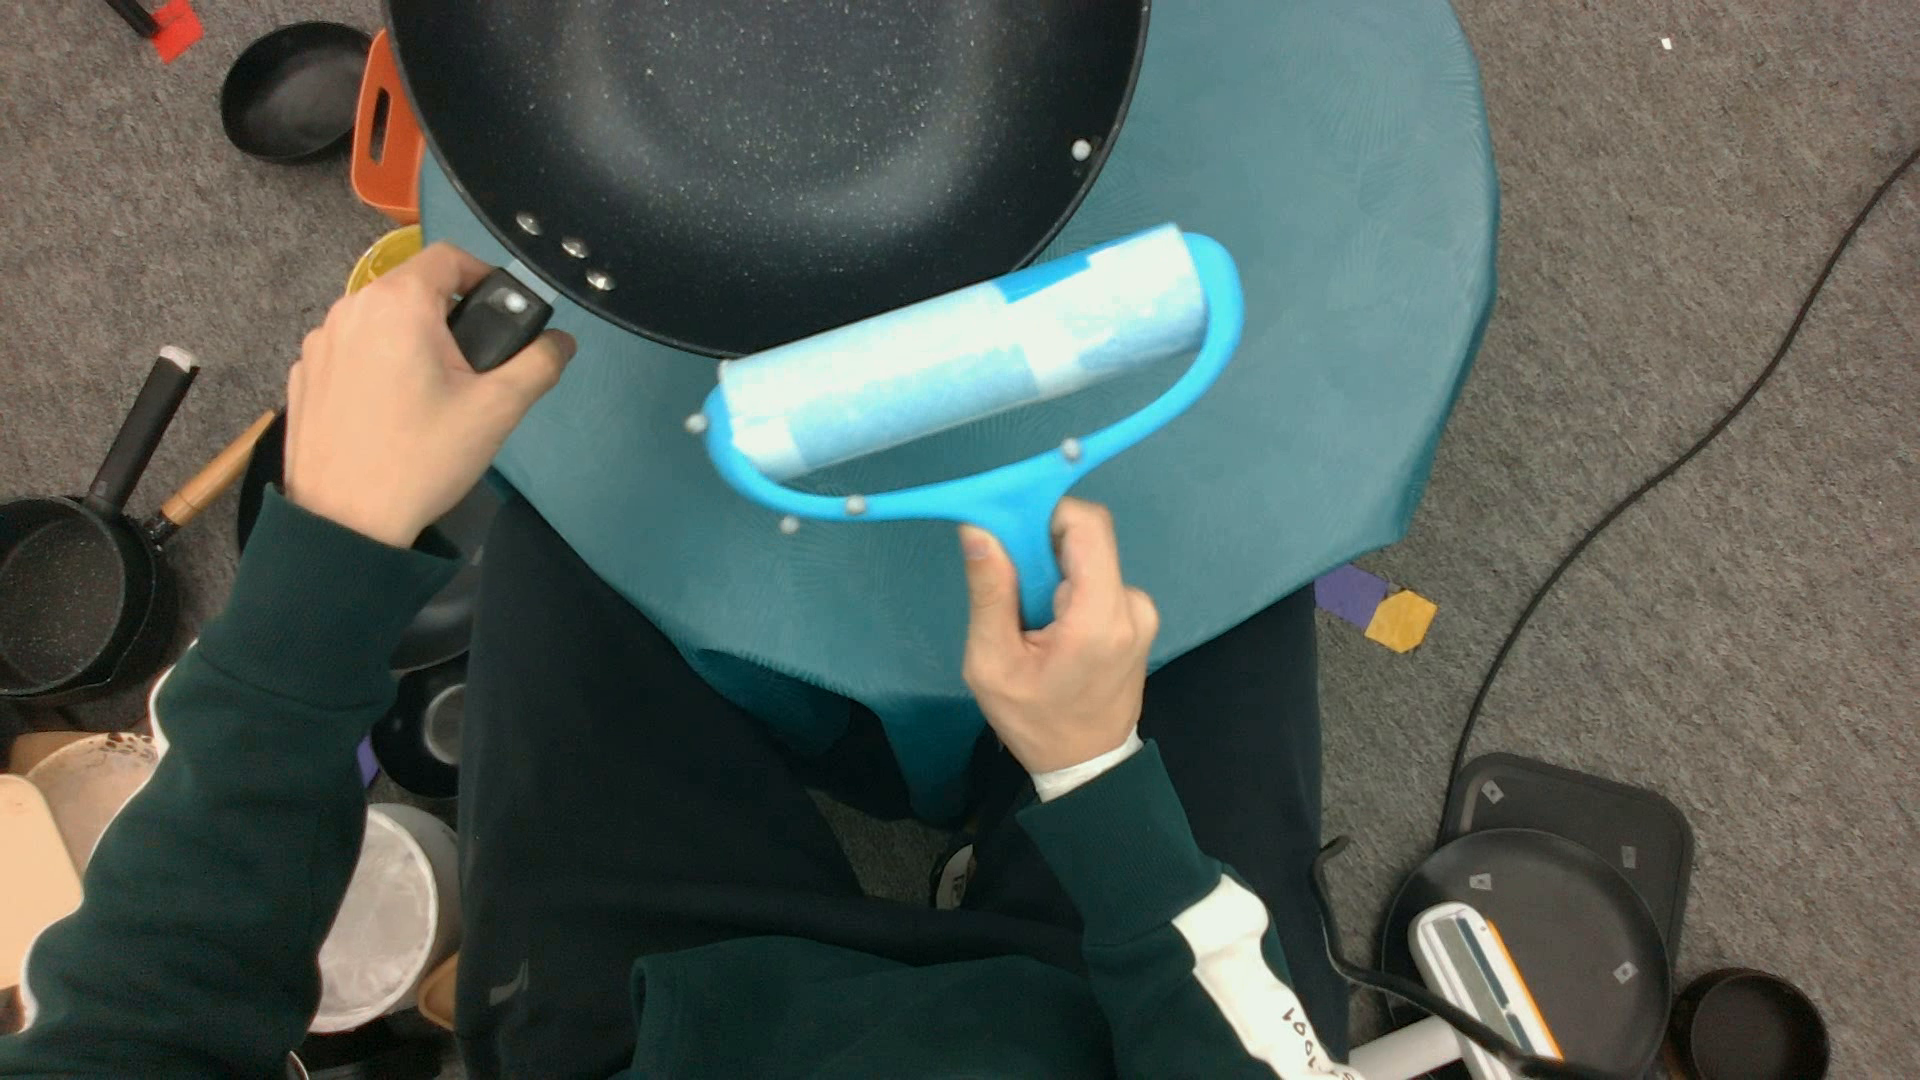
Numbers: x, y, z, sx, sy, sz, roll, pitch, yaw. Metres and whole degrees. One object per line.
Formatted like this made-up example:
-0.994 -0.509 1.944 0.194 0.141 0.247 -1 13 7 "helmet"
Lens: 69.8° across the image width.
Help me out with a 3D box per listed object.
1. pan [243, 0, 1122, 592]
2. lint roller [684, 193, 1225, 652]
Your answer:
-0.140 -0.177 0.592 0.310 0.112 0.476 37 95 -10 "pan"
0.018 -0.030 0.574 0.229 0.068 0.180 -21 101 1 "lint roller"
